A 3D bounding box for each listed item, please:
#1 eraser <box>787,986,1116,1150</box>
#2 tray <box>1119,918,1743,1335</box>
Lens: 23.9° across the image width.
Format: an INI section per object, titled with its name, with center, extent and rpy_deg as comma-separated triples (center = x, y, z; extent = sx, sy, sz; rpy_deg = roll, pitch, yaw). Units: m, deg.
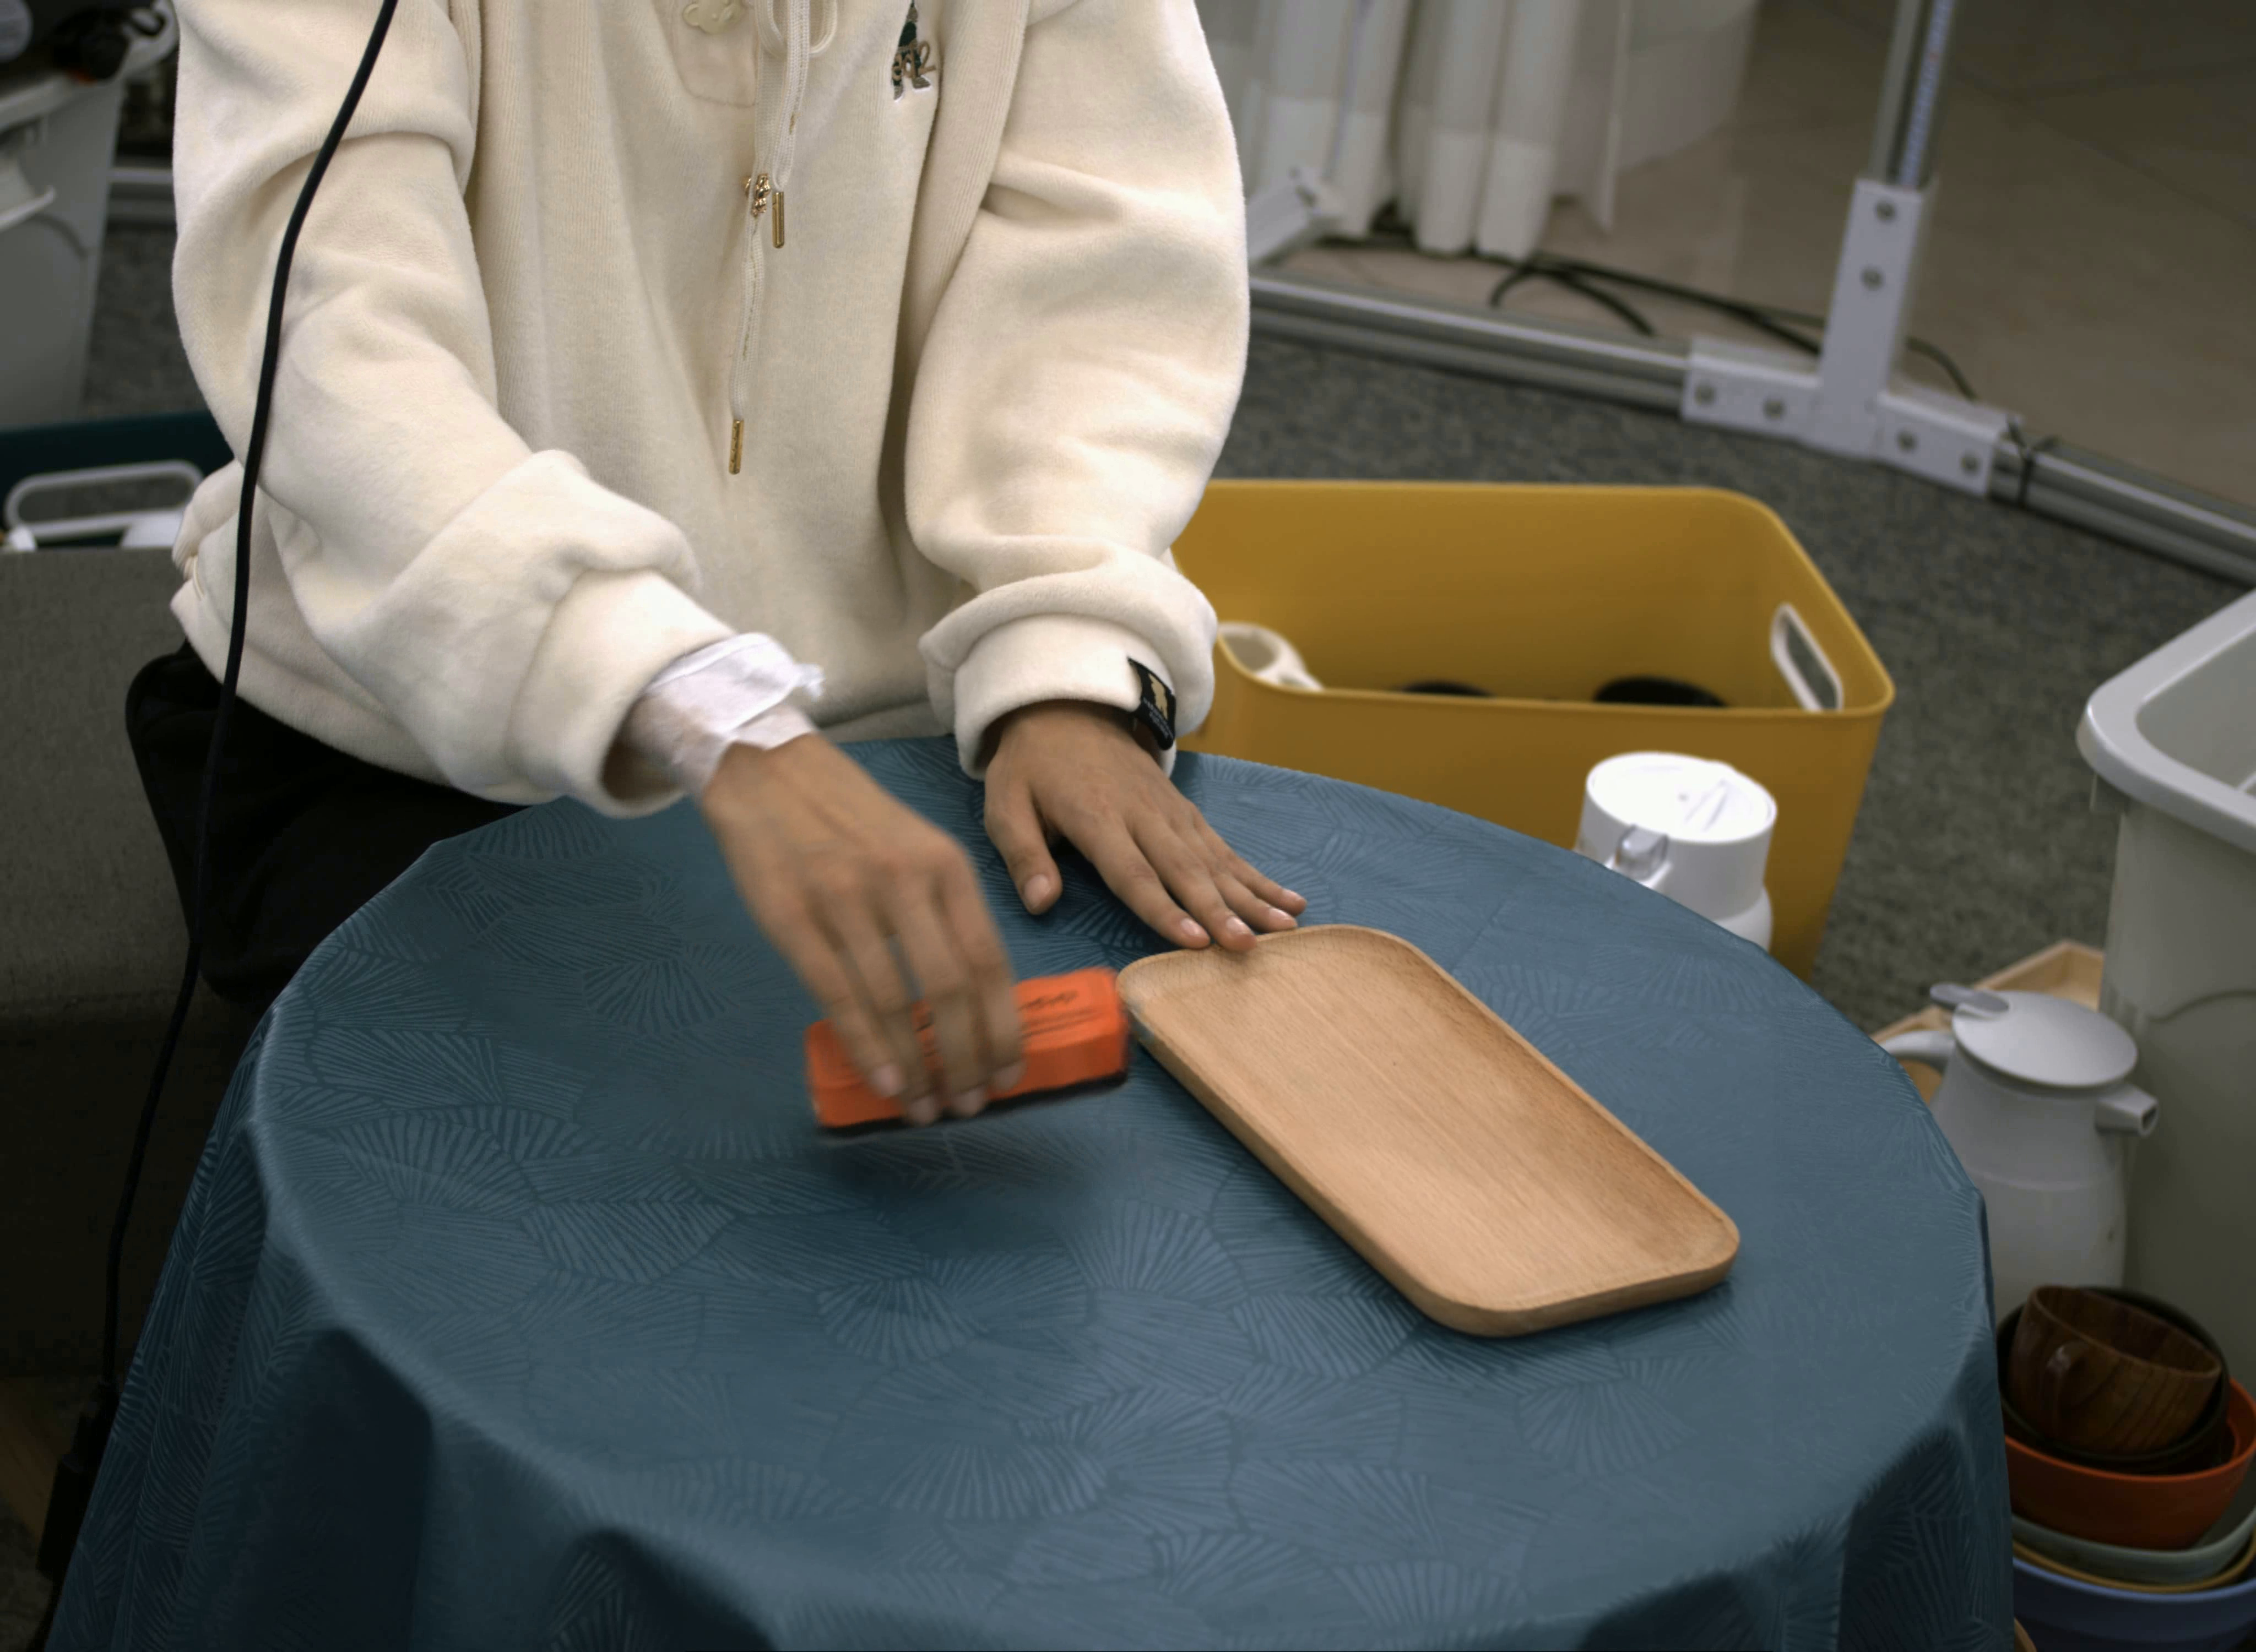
[eraser]
center = -0.060, 0.081, 1.789
extent = 0.108, 0.023, 0.059
rpy_deg = -9, 22, -1
[tray]
center = 0.101, 0.101, 1.848
extent = 0.129, 0.023, 0.253
rpy_deg = -6, 29, -29
